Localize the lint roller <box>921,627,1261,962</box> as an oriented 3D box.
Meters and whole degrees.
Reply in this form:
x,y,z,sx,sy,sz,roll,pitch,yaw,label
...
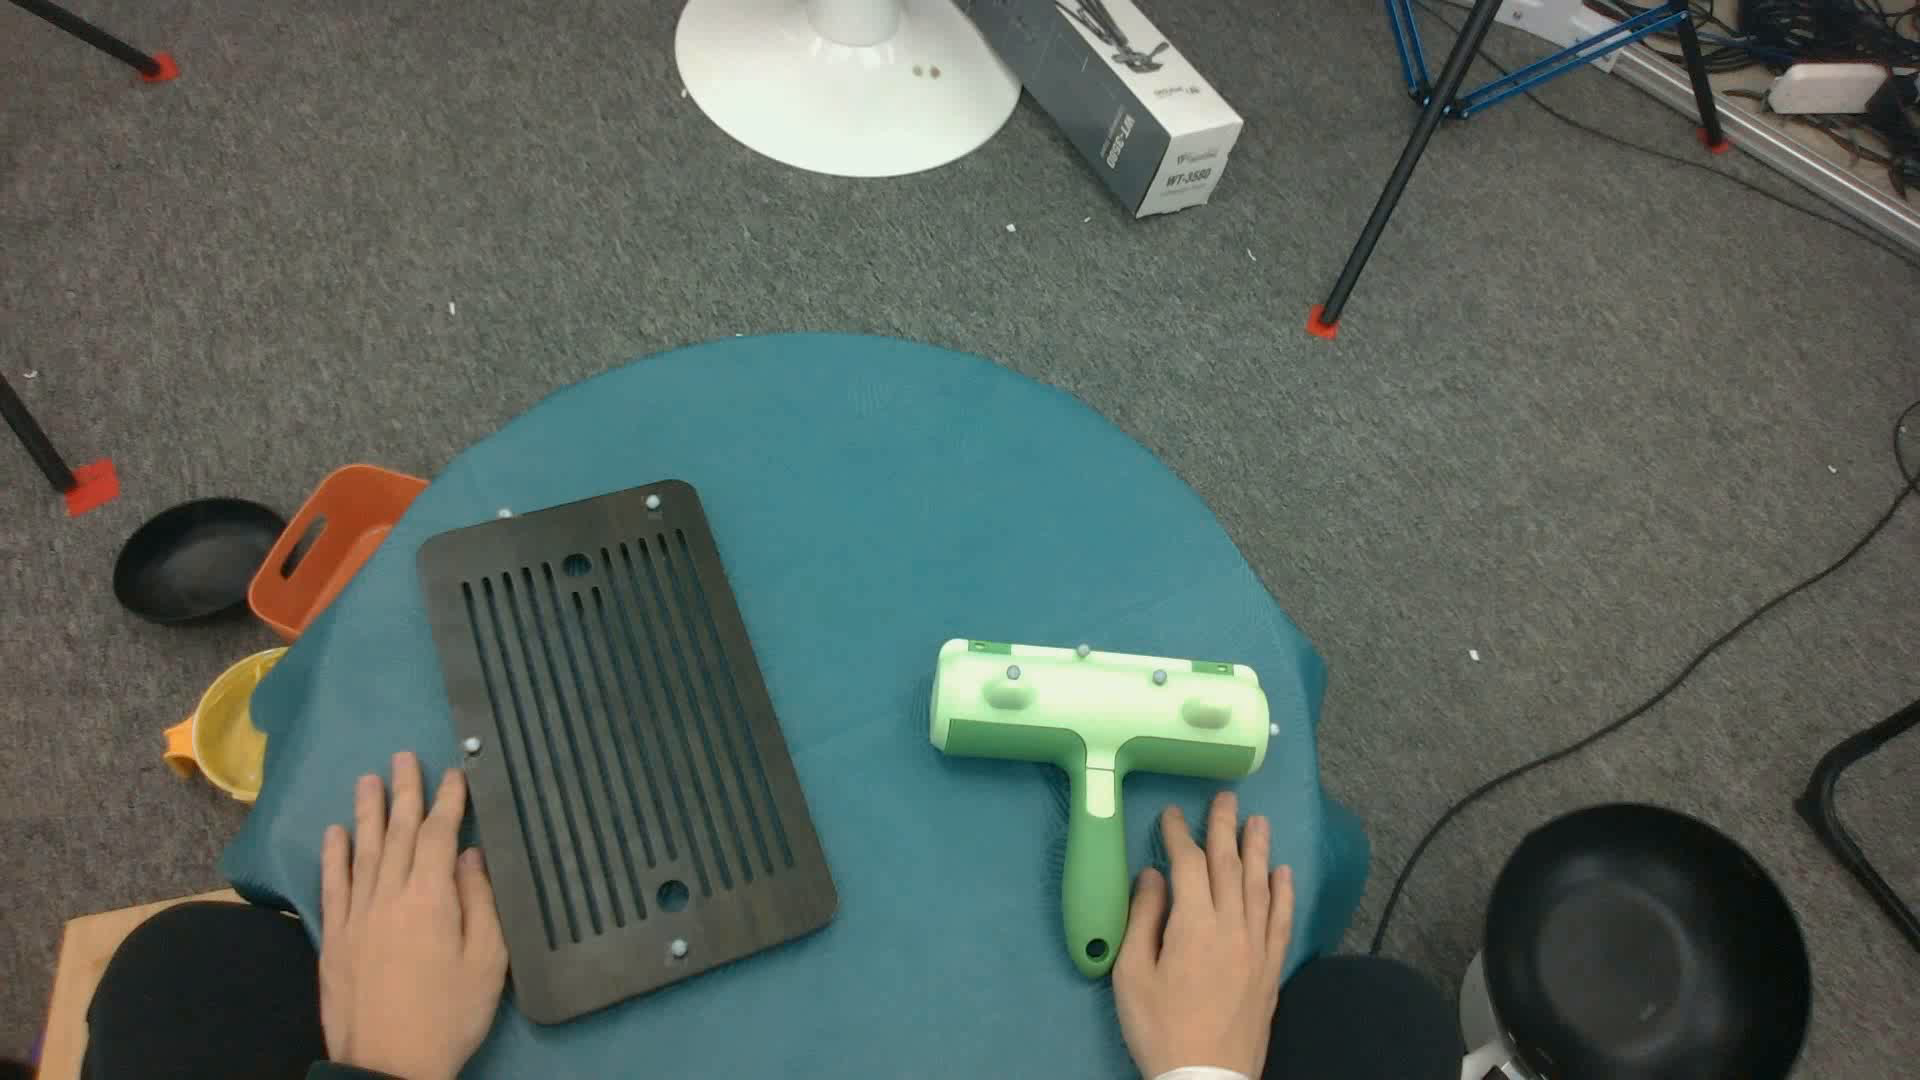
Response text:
x,y,z,sx,sy,sz,roll,pitch,yaw,label
0.077,0.135,0.773,0.199,0.082,0.184,5,54,-5,lint roller

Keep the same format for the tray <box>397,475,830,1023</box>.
x,y,z,sx,sy,sz,roll,pitch,yaw,label
-0.204,0.104,0.789,0.170,0.018,0.306,-17,62,-18,tray
